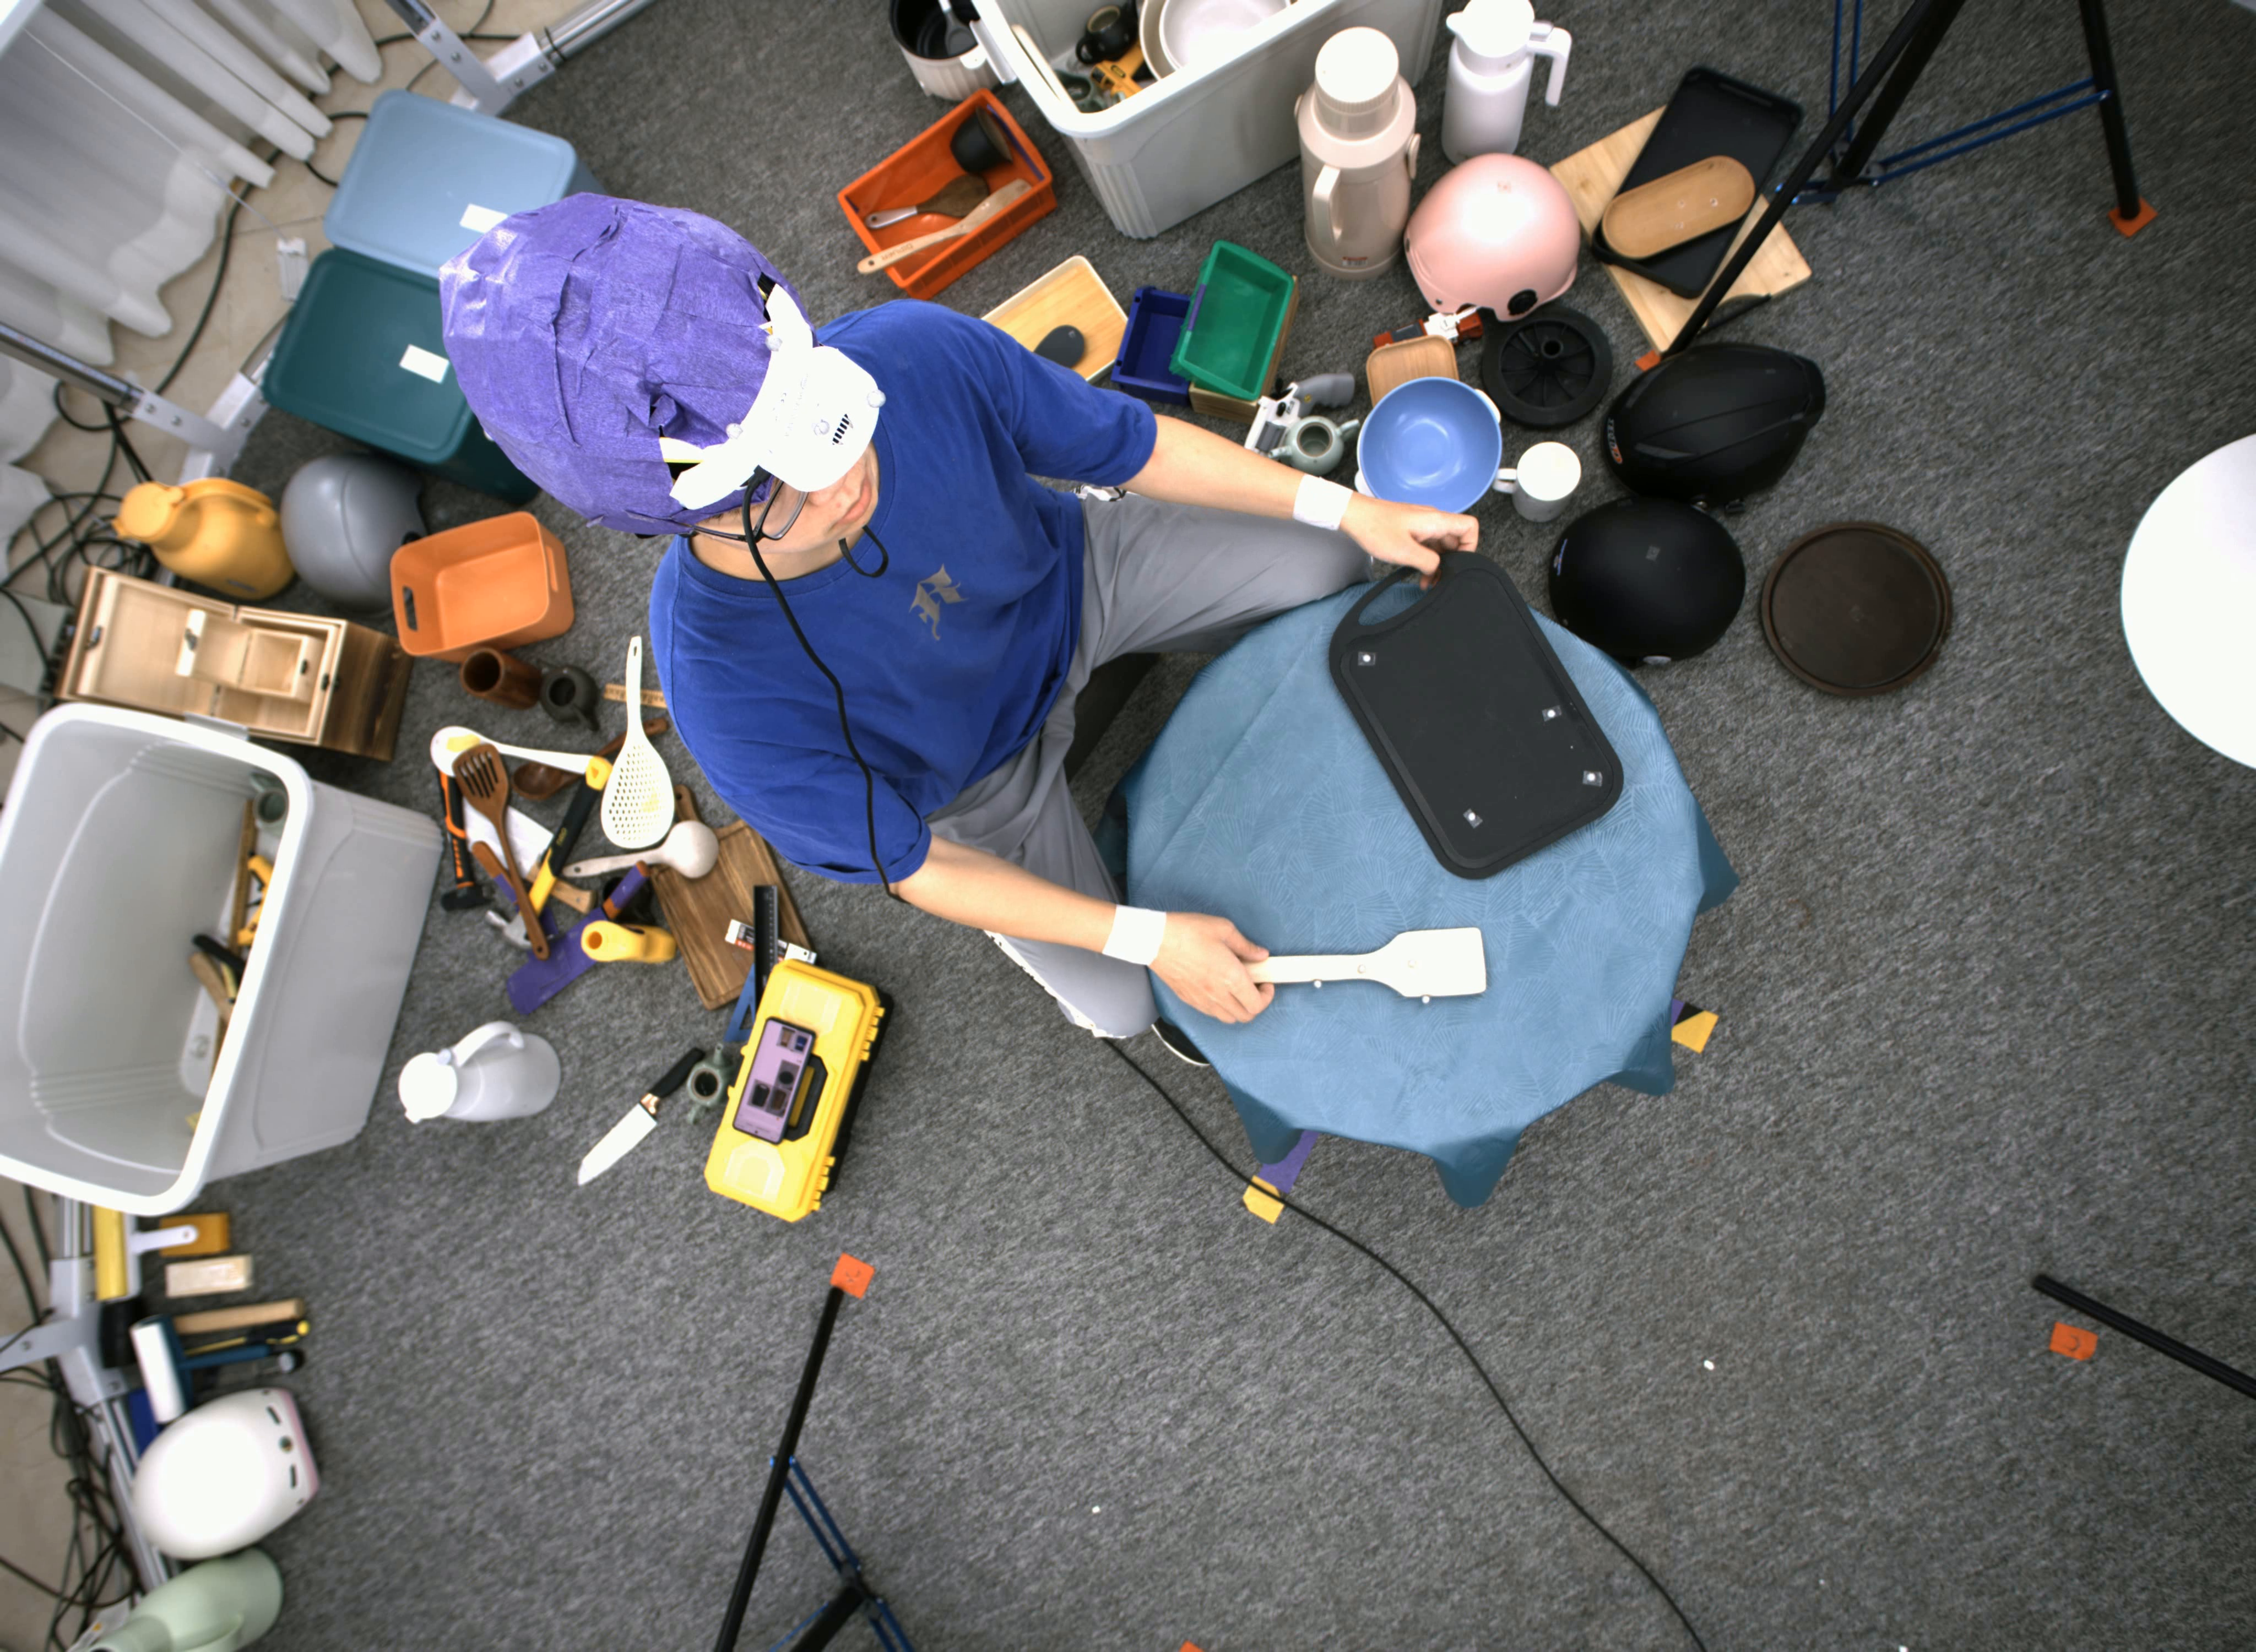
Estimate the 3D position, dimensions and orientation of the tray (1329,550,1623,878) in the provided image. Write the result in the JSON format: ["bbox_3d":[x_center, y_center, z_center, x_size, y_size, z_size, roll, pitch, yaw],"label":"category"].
[{"bbox_3d":[0.350,-0.122,1.416,0.214,0.009,0.324,-30,86,22],"label":"tray"}]

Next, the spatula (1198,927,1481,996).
[{"bbox_3d":[0.220,0.146,1.448,0.294,0.011,0.071,-4,74,7],"label":"spatula"}]
